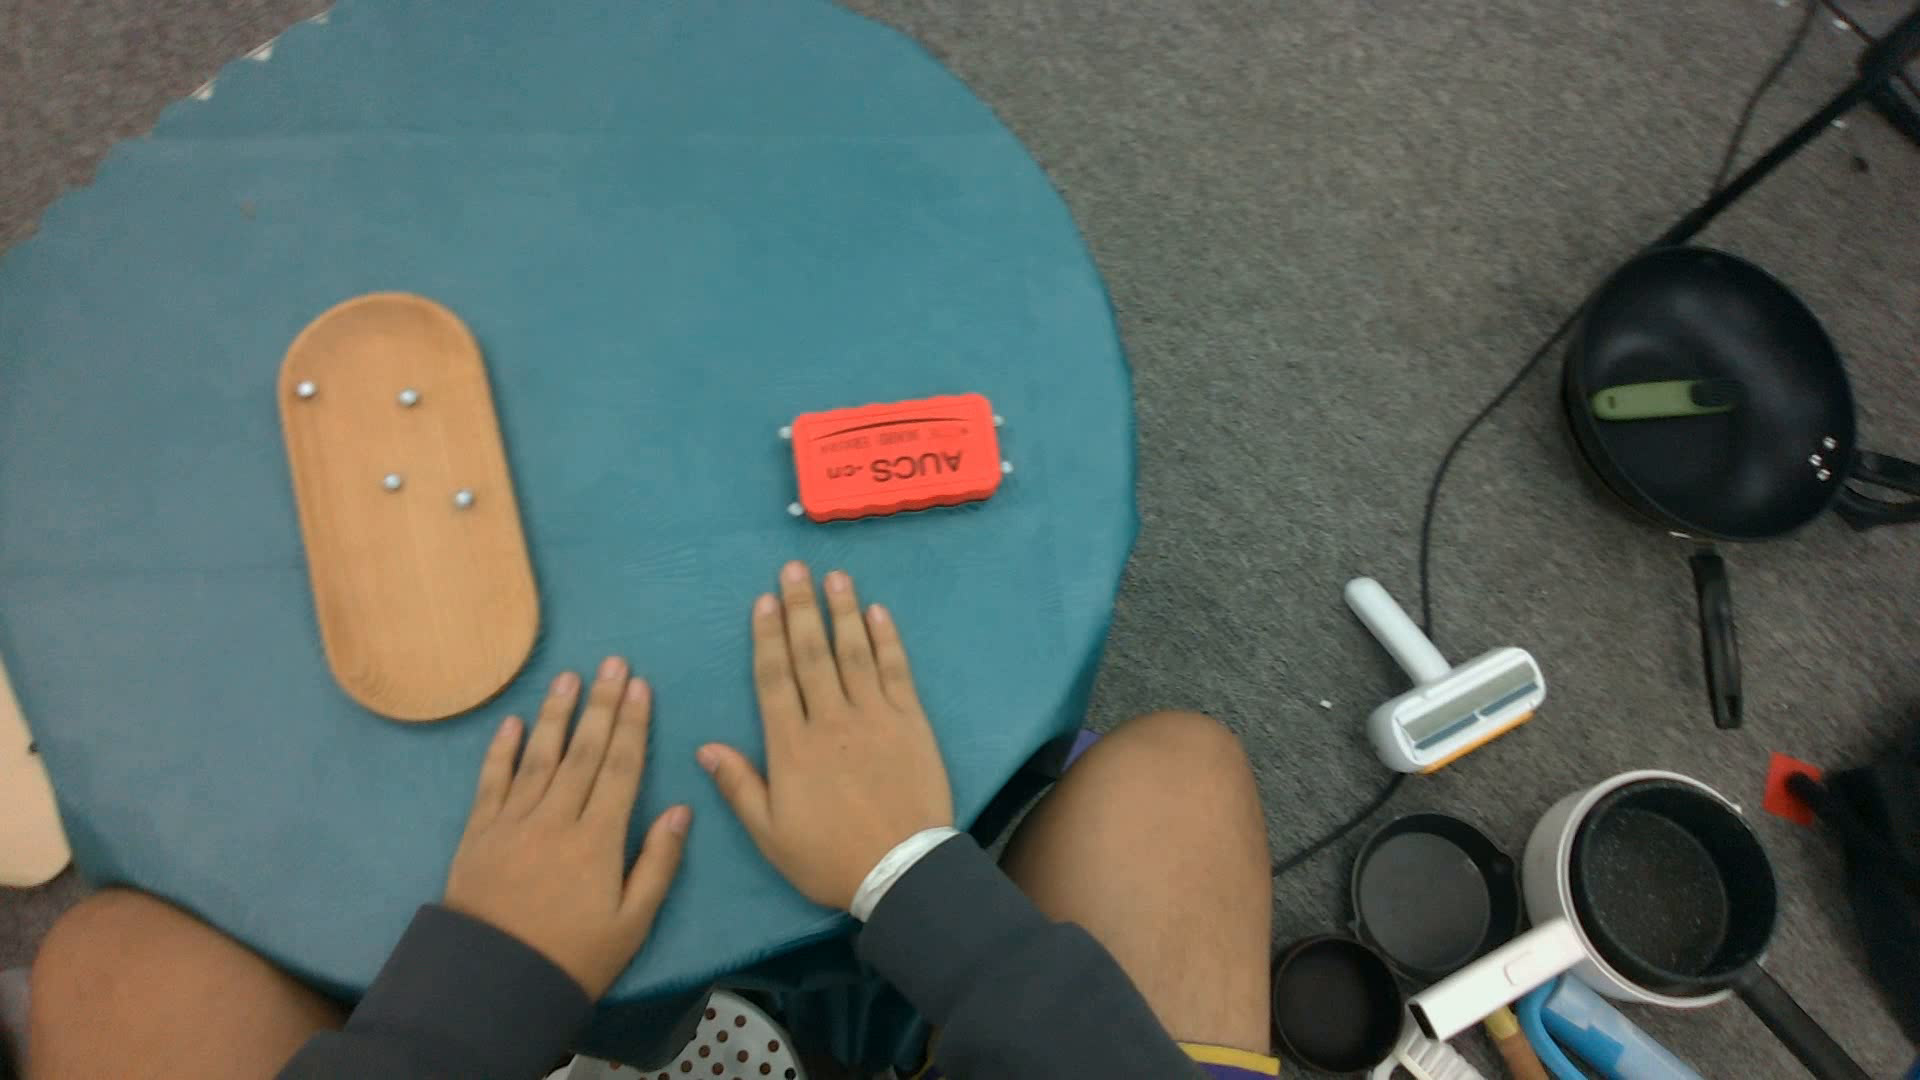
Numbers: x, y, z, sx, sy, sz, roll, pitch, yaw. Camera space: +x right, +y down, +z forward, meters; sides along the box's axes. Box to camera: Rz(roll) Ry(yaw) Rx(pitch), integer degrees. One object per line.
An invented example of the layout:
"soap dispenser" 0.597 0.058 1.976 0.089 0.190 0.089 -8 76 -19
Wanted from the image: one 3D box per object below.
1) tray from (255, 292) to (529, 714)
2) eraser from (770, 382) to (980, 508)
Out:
"tray" -0.289 -0.022 0.702 0.102 0.020 0.231 -17 77 -12
"eraser" -0.046 -0.052 0.742 0.108 0.023 0.059 -8 66 -11
